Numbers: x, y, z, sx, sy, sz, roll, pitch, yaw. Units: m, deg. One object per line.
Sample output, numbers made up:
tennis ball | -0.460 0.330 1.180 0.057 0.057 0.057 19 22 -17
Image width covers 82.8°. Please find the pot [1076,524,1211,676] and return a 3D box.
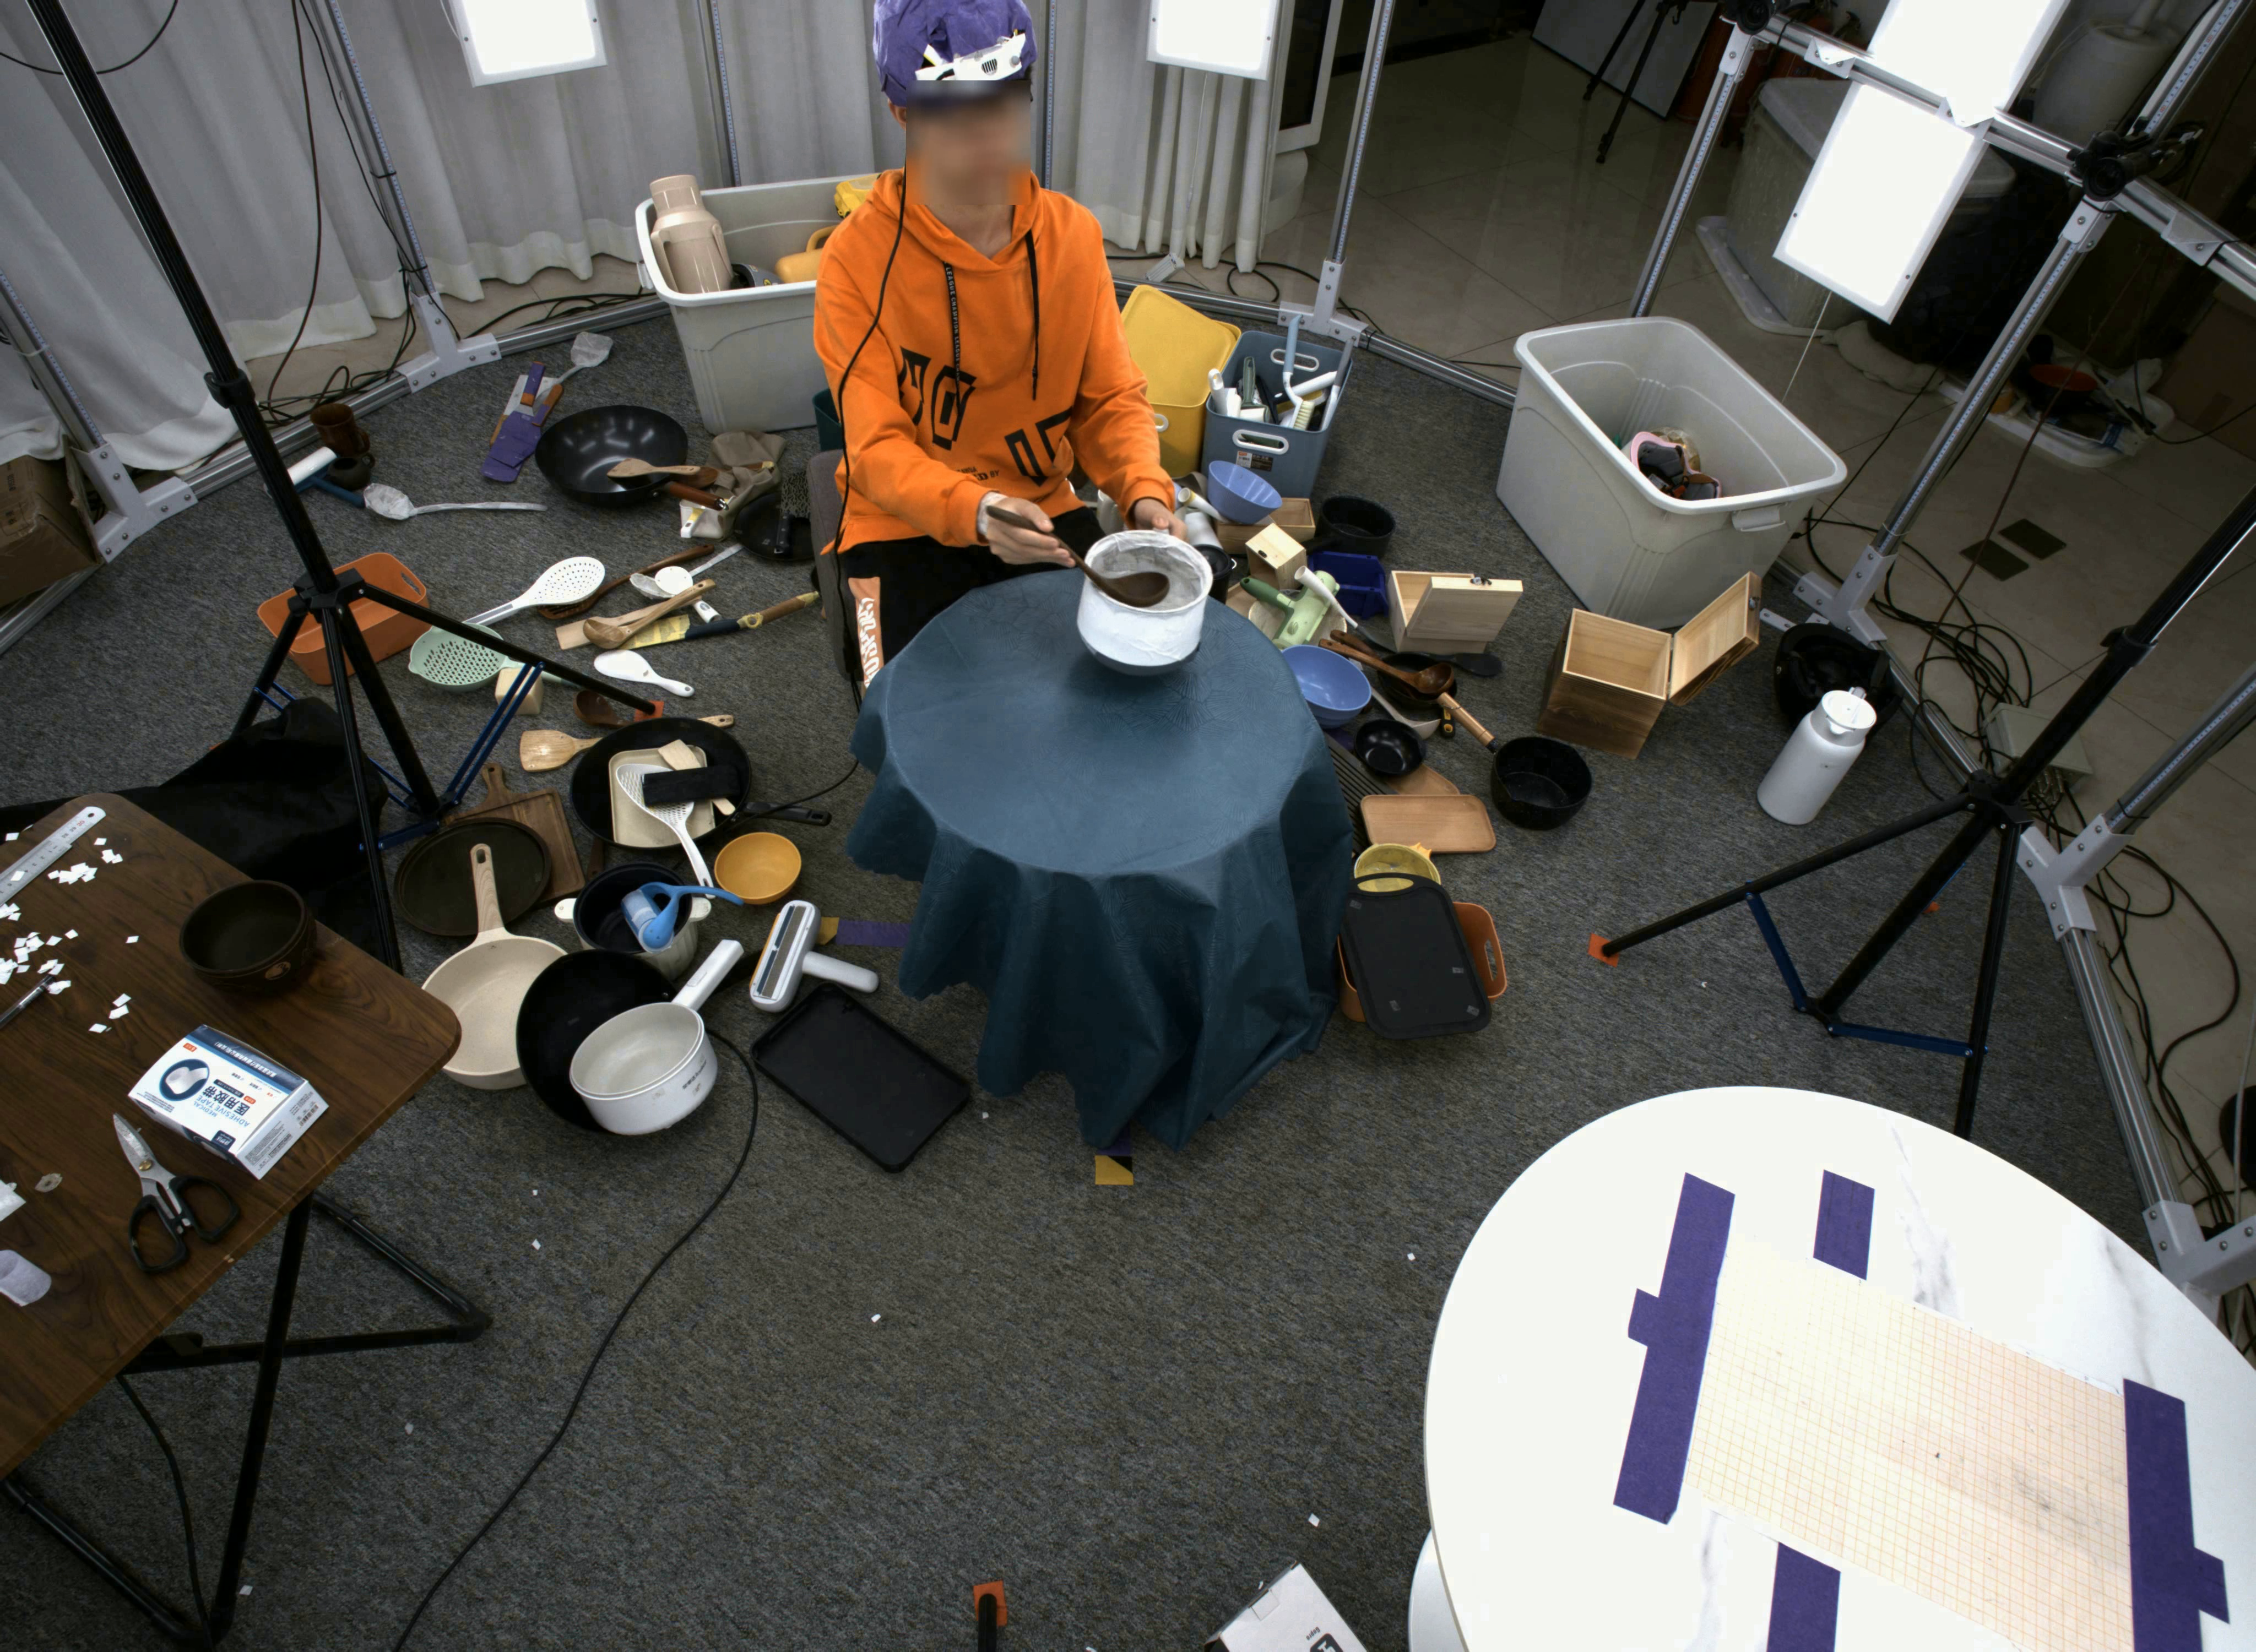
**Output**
pot | 0.023 -0.328 1.814 0.179 0.133 0.239 12 48 1

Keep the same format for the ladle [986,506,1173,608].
ladle | -0.056 -0.365 1.681 0.270 0.071 0.078 30 17 -32
